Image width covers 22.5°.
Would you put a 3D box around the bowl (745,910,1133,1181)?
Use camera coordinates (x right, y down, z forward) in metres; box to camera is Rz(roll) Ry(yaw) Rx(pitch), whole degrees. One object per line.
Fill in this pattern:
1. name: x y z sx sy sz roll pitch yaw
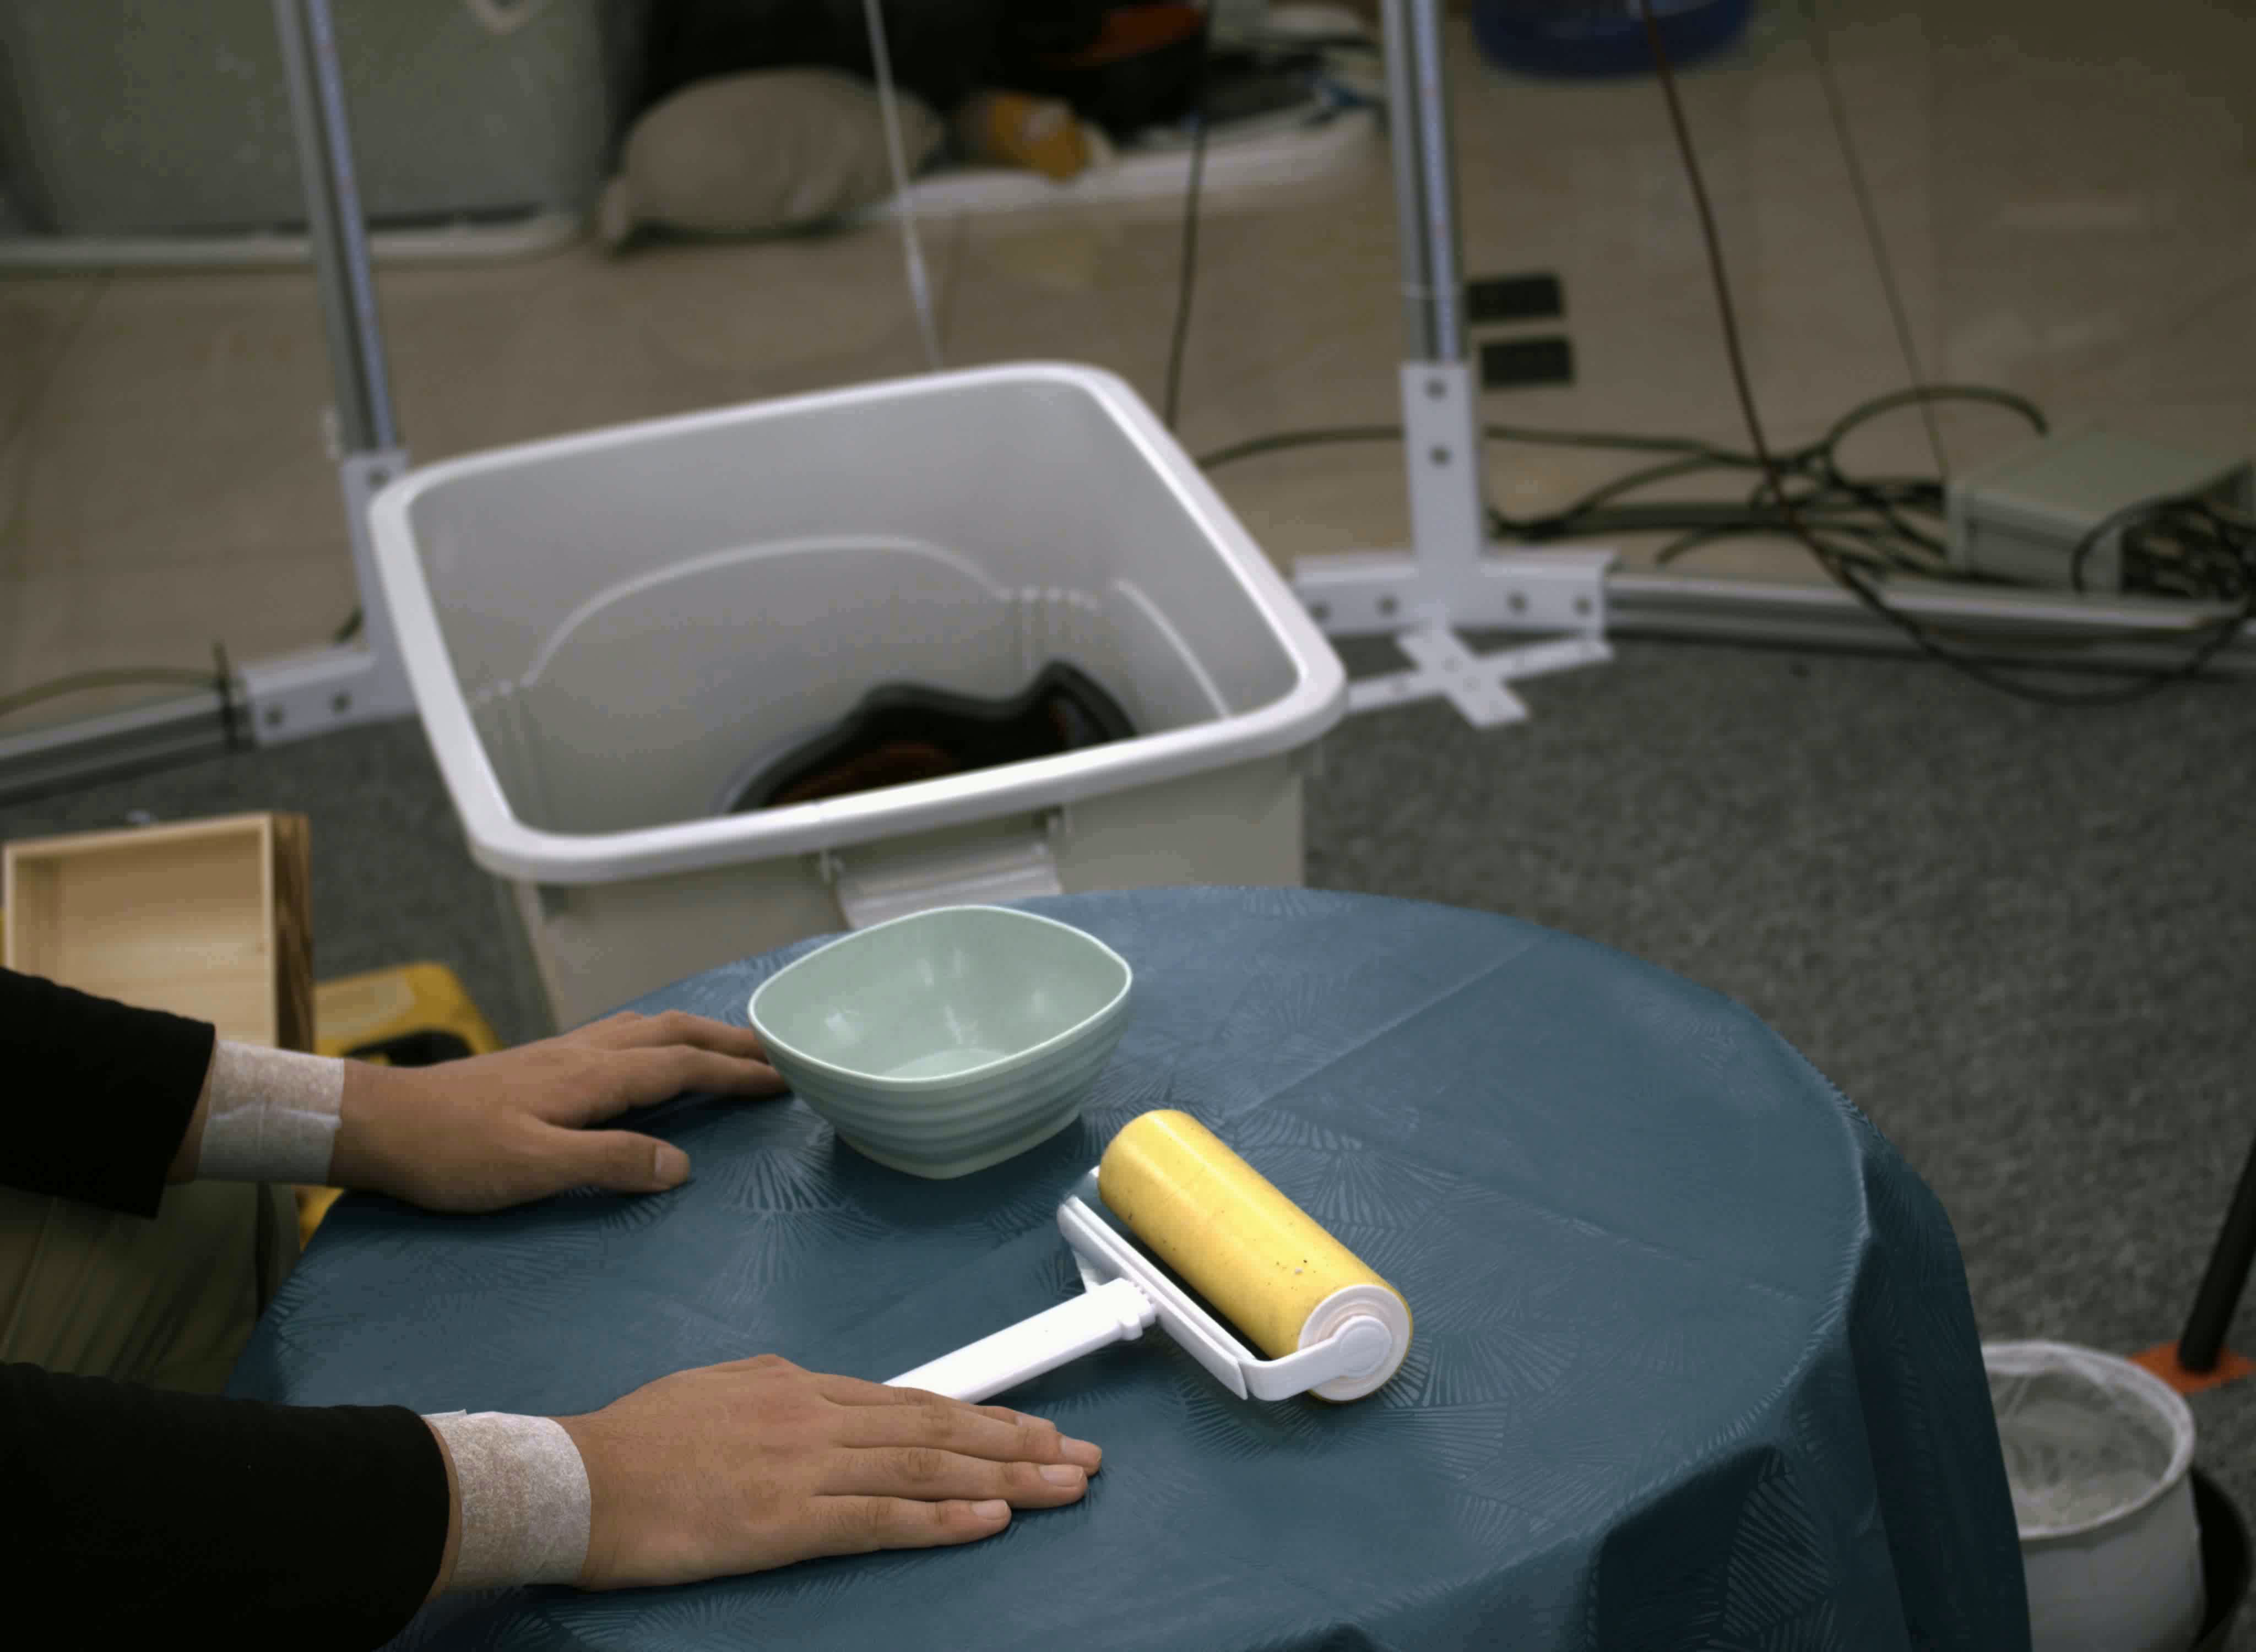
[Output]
1. bowl: -0.071 0.090 2.202 0.151 0.059 0.149 -4 24 2

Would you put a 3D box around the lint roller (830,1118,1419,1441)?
1. lint roller: -0.018 0.172 2.020 0.191 0.052 0.172 -13 24 -24
